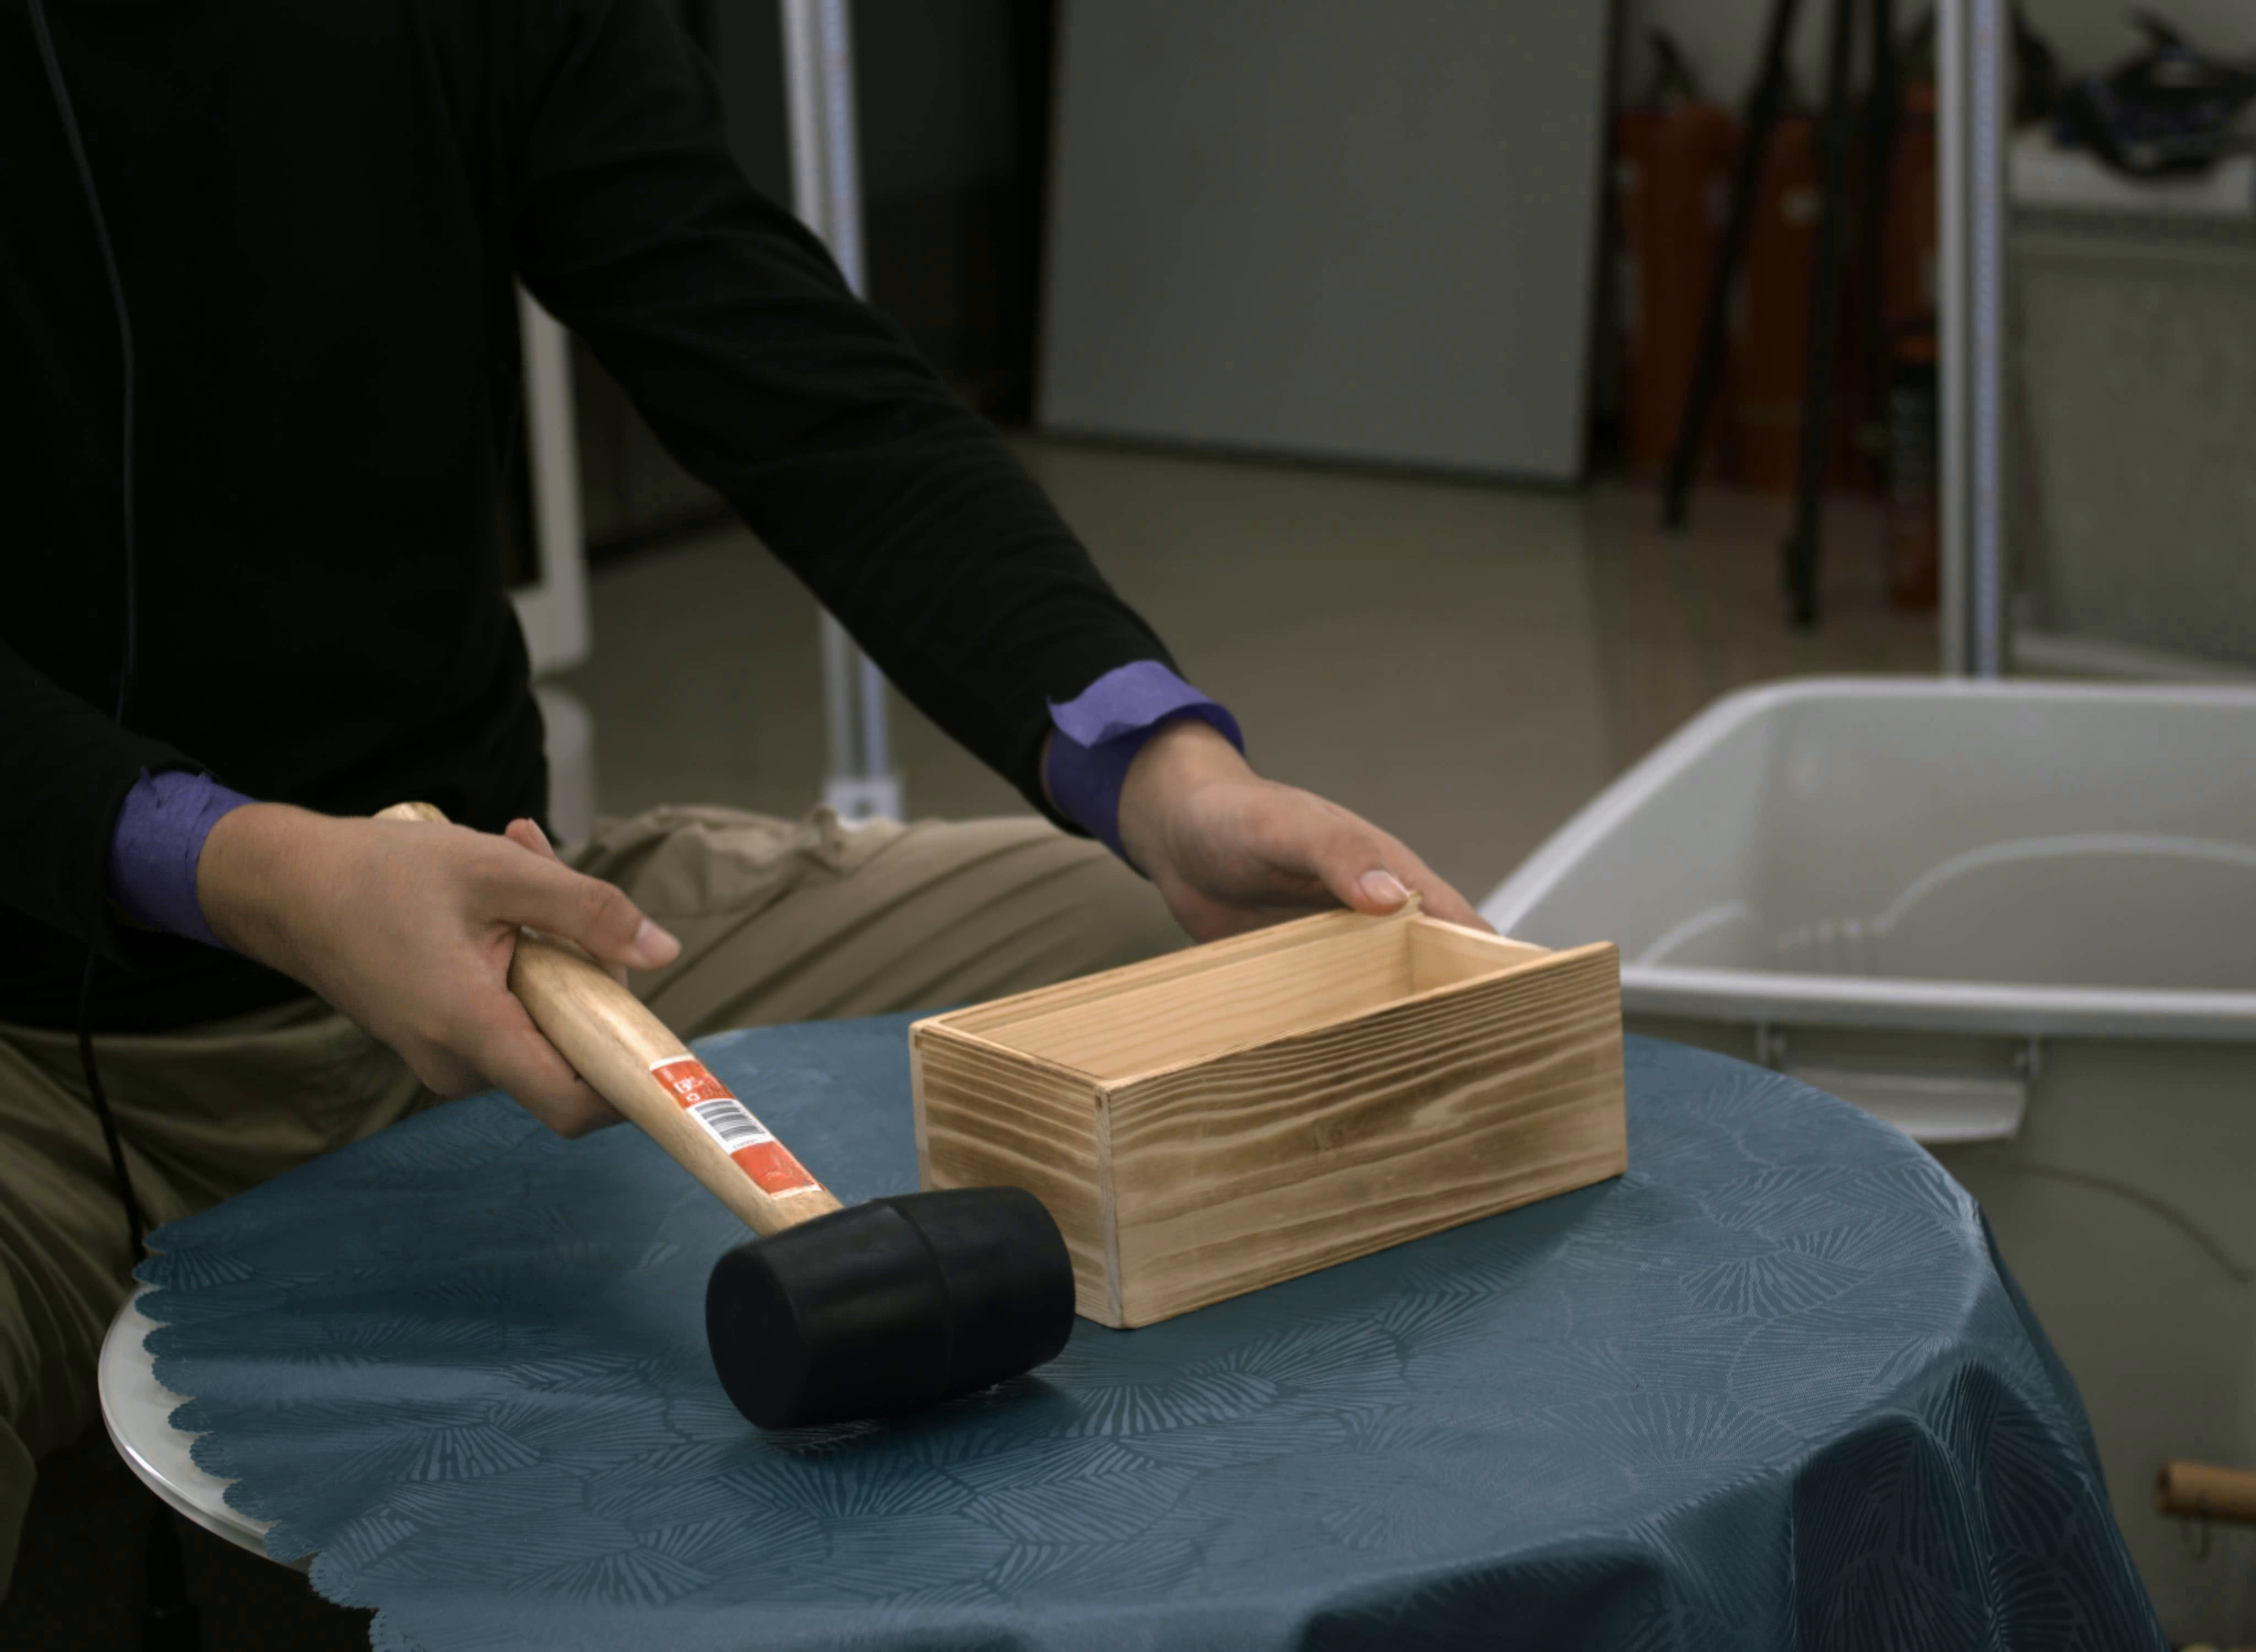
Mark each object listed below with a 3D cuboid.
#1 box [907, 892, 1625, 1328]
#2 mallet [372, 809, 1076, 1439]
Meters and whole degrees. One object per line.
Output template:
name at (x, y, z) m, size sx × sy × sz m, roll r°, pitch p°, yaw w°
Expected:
box at (0.046, 0.088, 1.728) m, size 0.207 × 0.081 × 0.108 m, roll -14°, pitch 16°, yaw -34°
mallet at (-0.144, 0.074, 1.674) m, size 0.099 × 0.065 × 0.343 m, roll -9°, pitch 34°, yaw -33°
